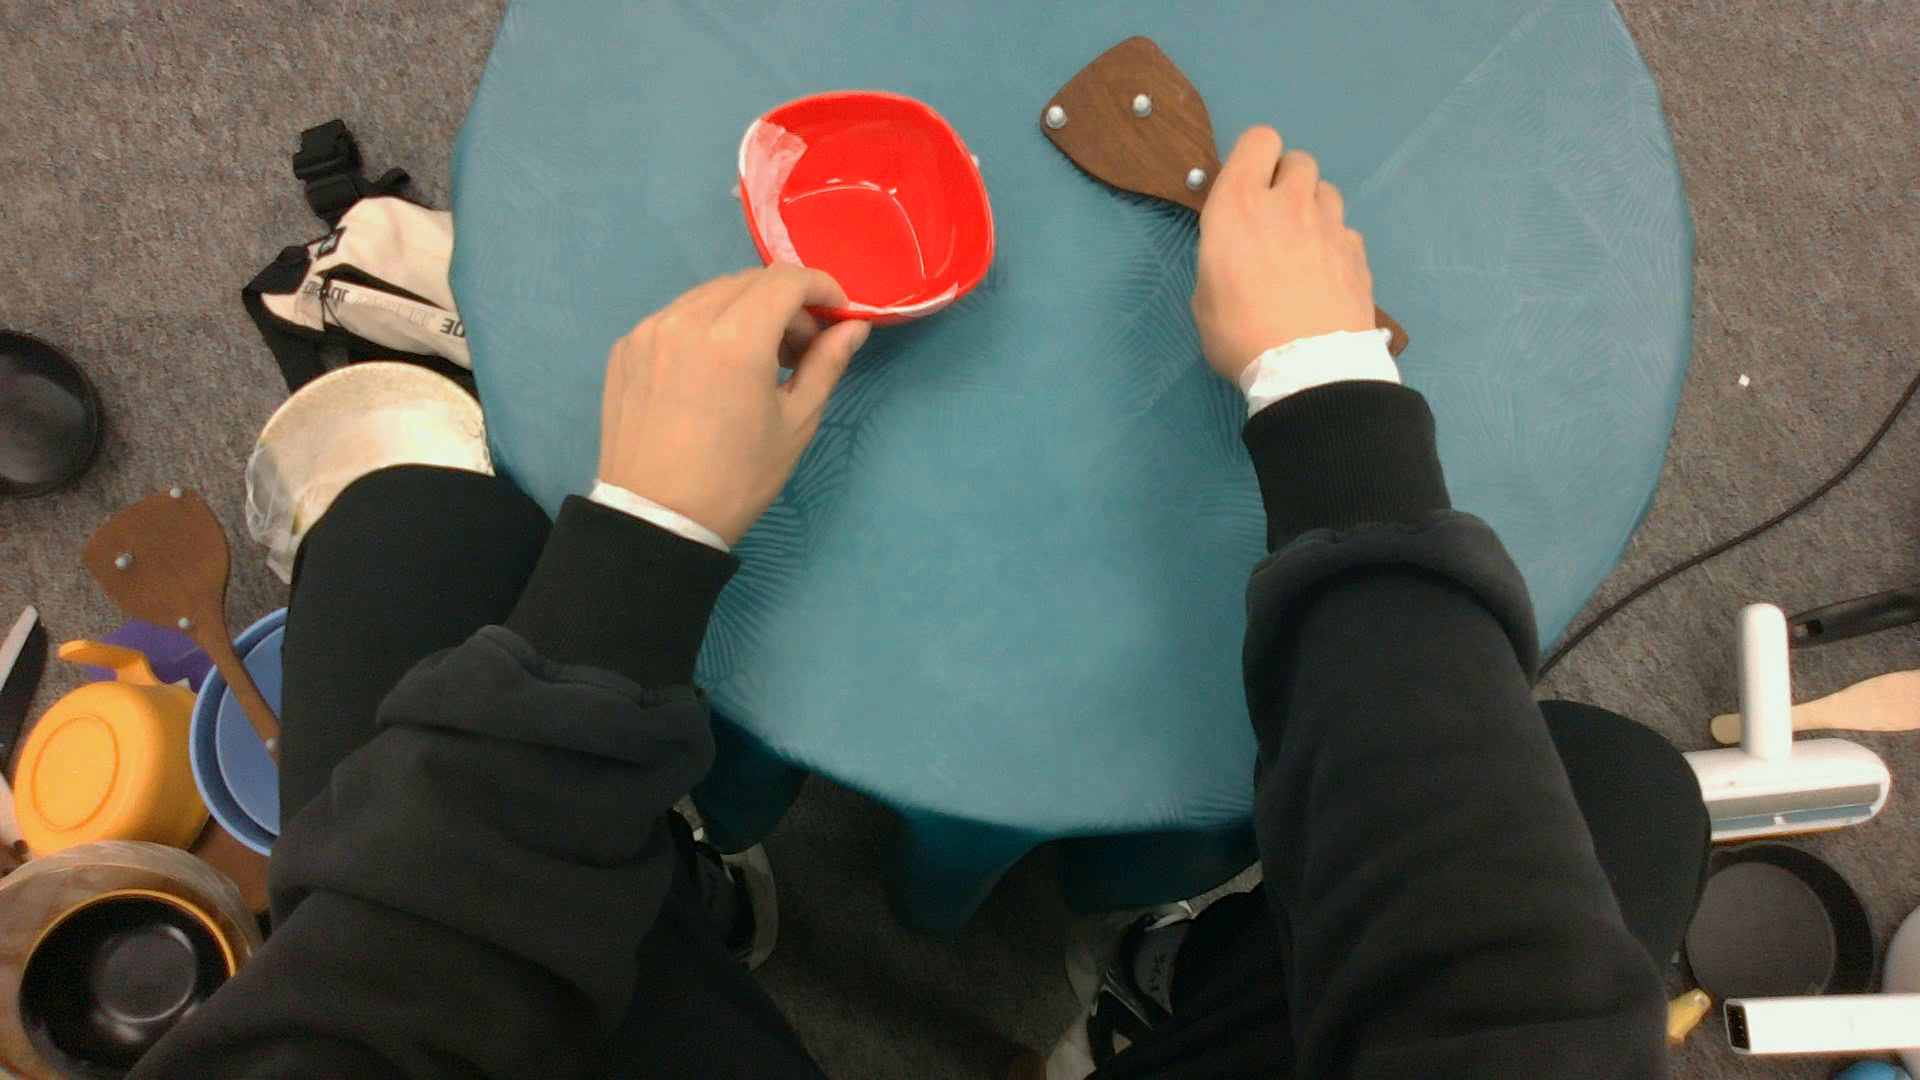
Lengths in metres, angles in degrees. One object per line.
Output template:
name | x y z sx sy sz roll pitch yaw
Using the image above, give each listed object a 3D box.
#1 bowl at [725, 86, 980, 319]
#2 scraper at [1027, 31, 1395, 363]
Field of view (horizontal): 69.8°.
bowl | -0.053 -0.145 0.626 0.119 0.051 0.119 6 69 -17
scraper | 0.123 -0.161 0.657 0.076 0.011 0.211 -40 74 -9
